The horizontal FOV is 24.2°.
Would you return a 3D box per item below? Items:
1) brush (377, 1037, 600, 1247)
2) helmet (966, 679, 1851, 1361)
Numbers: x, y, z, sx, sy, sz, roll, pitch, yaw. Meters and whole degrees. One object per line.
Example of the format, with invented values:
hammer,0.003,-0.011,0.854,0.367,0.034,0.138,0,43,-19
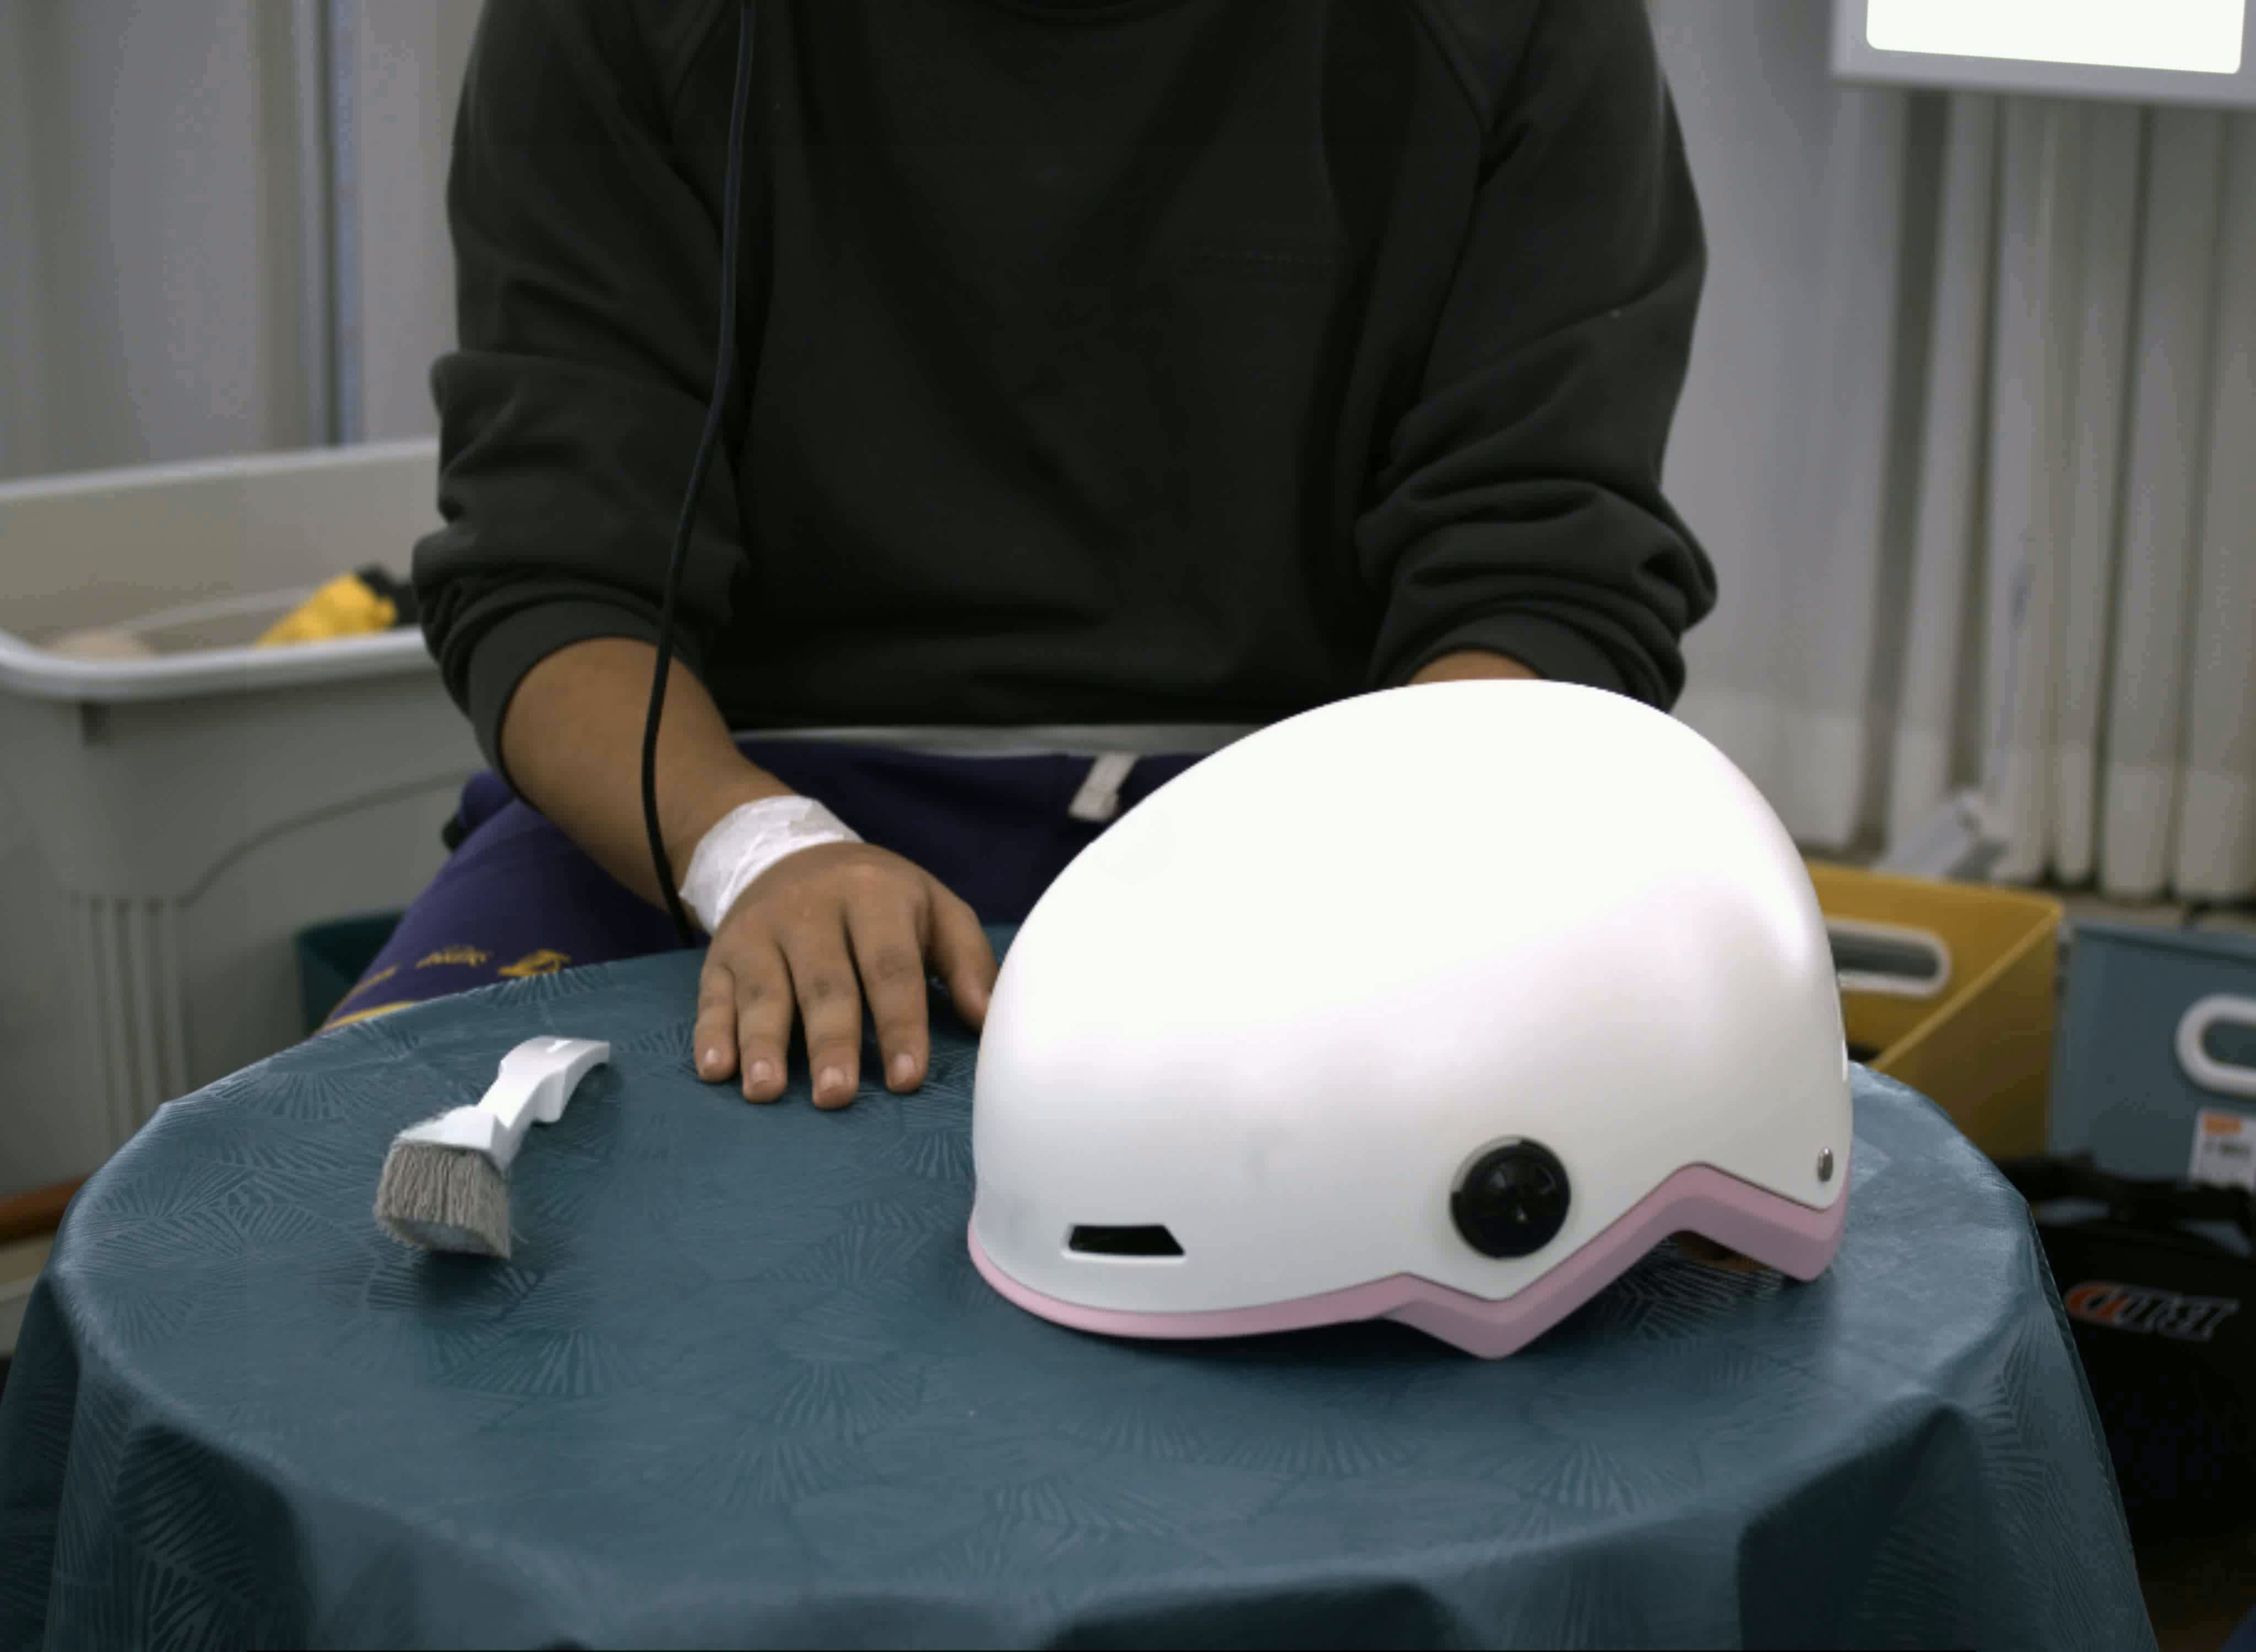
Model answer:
brush,-0.194,0.097,1.626,0.034,0.050,0.243,5,3,3
helmet,0.084,0.045,1.563,0.269,0.168,0.234,-6,17,-22
